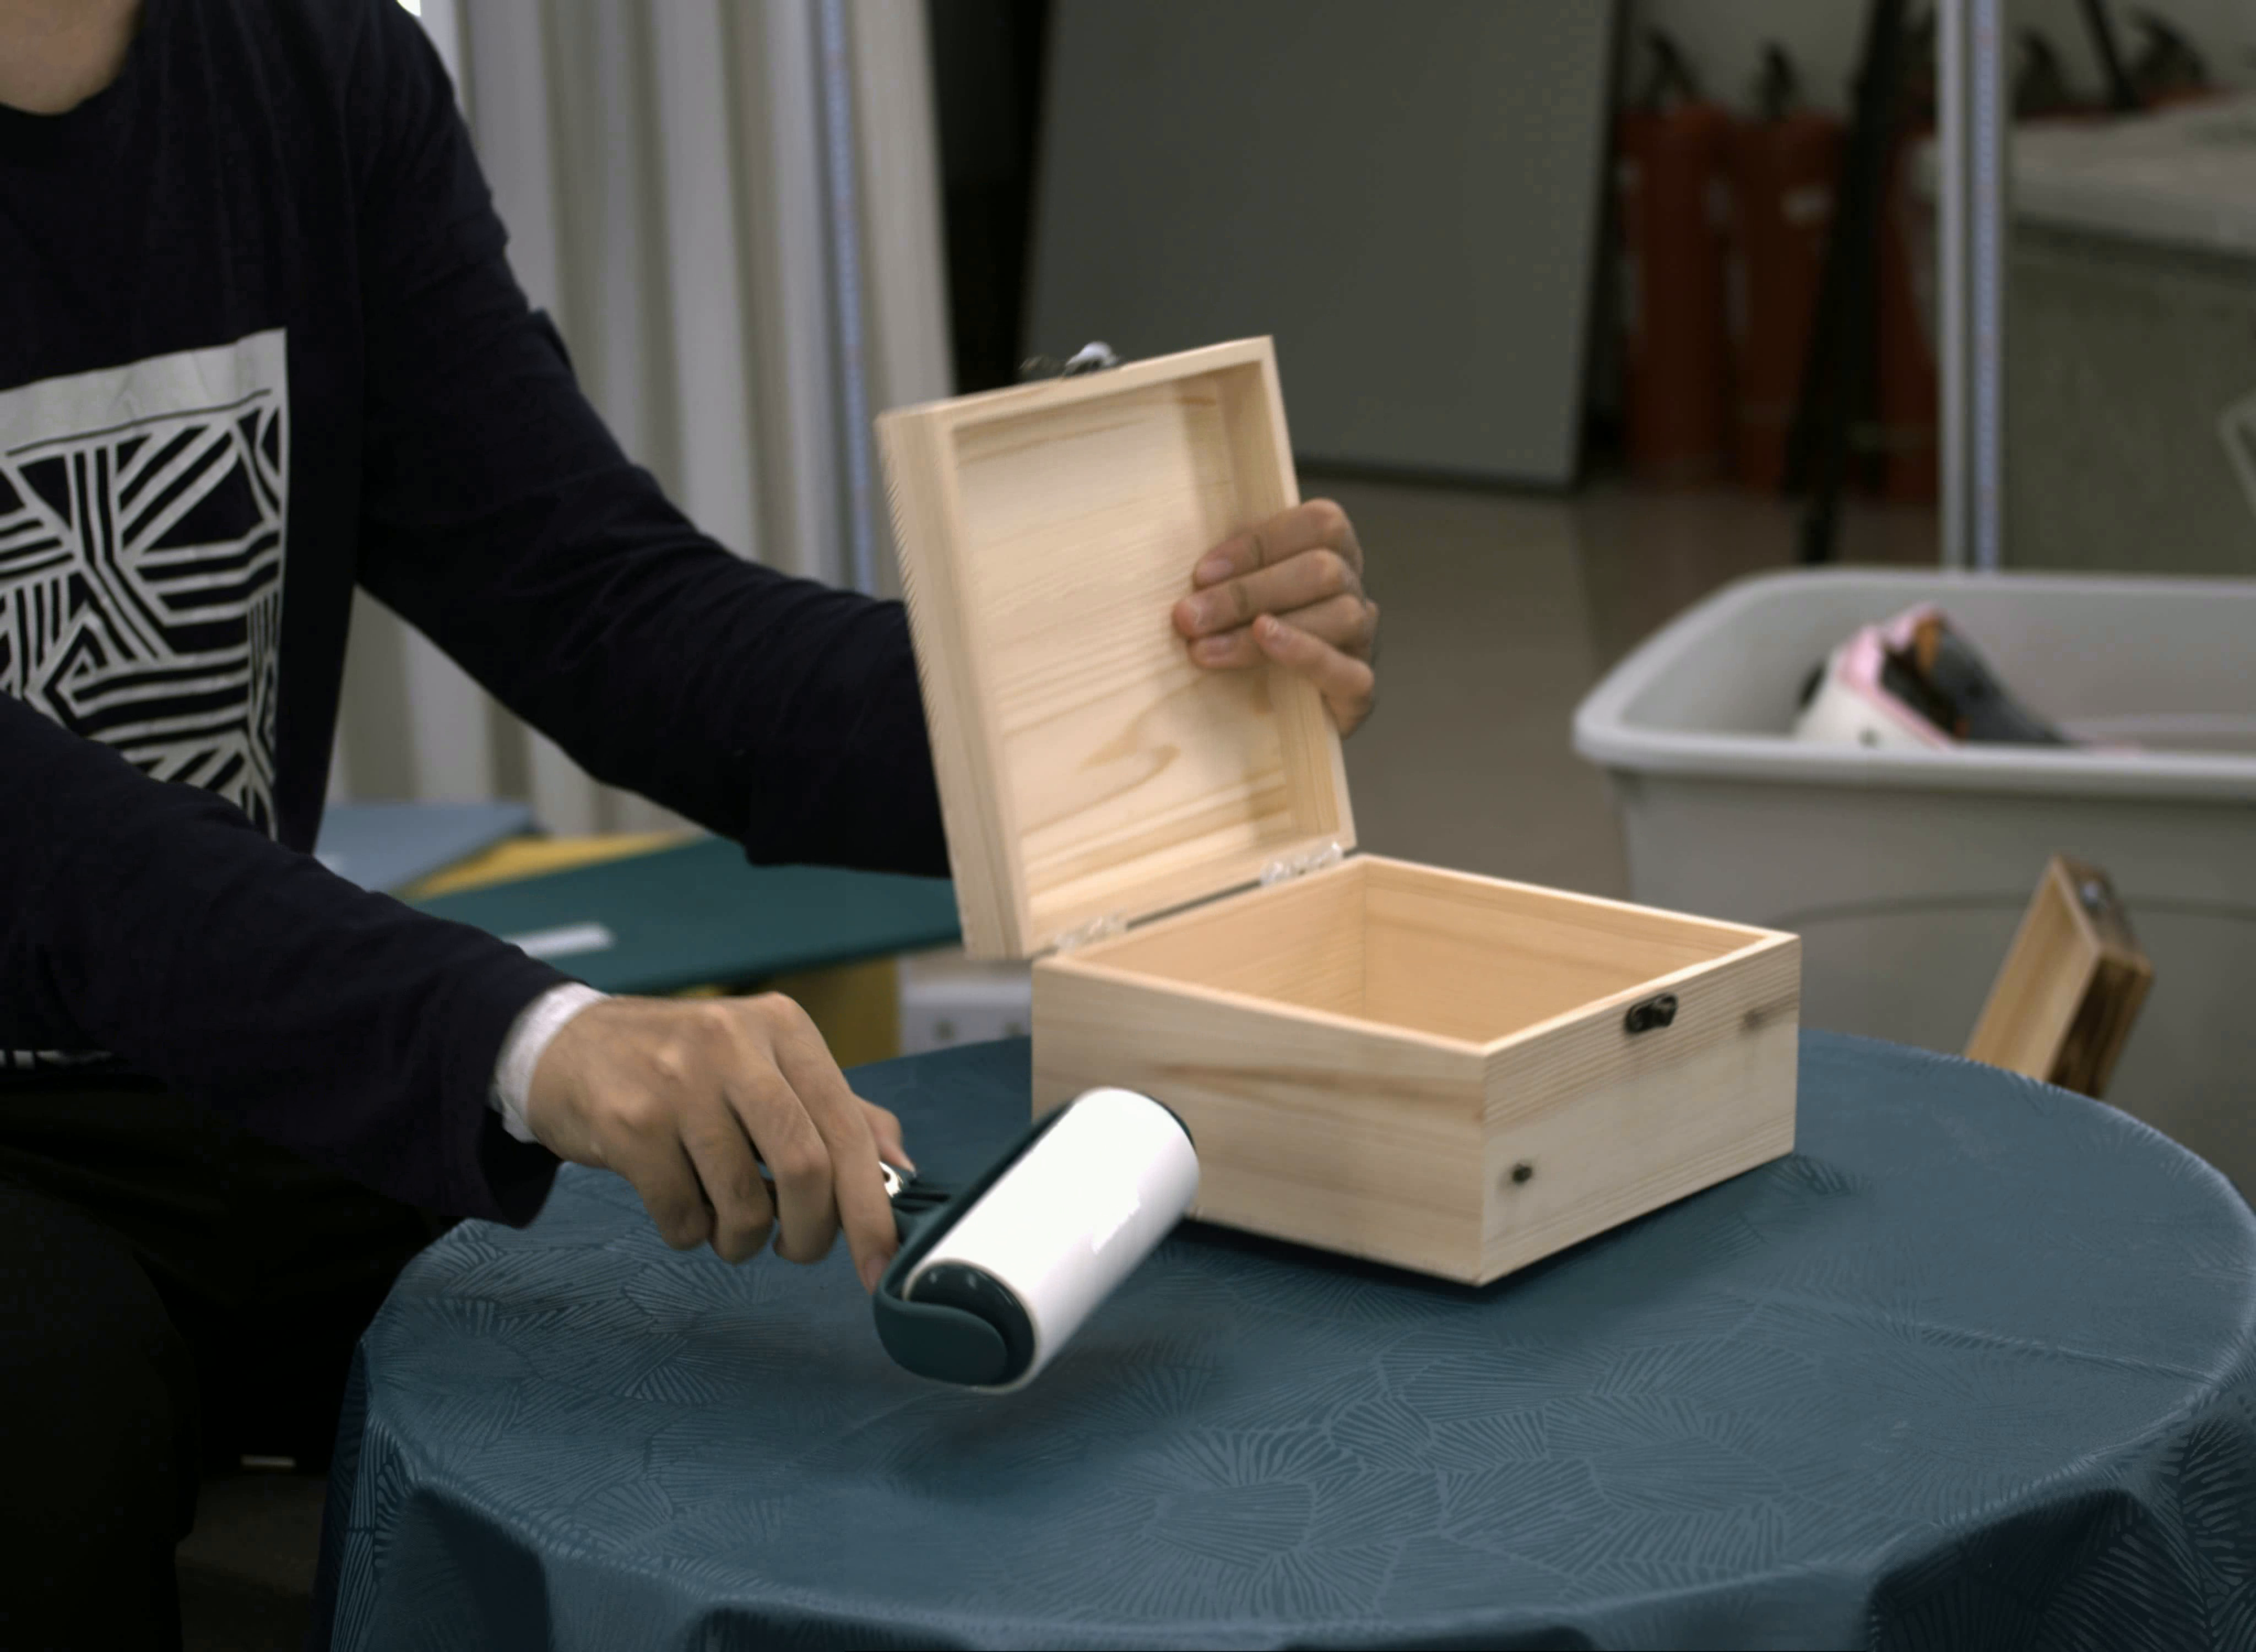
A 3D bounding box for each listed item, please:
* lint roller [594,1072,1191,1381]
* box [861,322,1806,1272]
[{"bbox_3d":[-0.084,0.103,1.612,0.180,0.048,0.133,12,34,26],"label":"lint roller"},{"bbox_3d":[0.070,-0.019,1.751,0.267,0.256,0.178,10,16,37],"label":"box"}]
